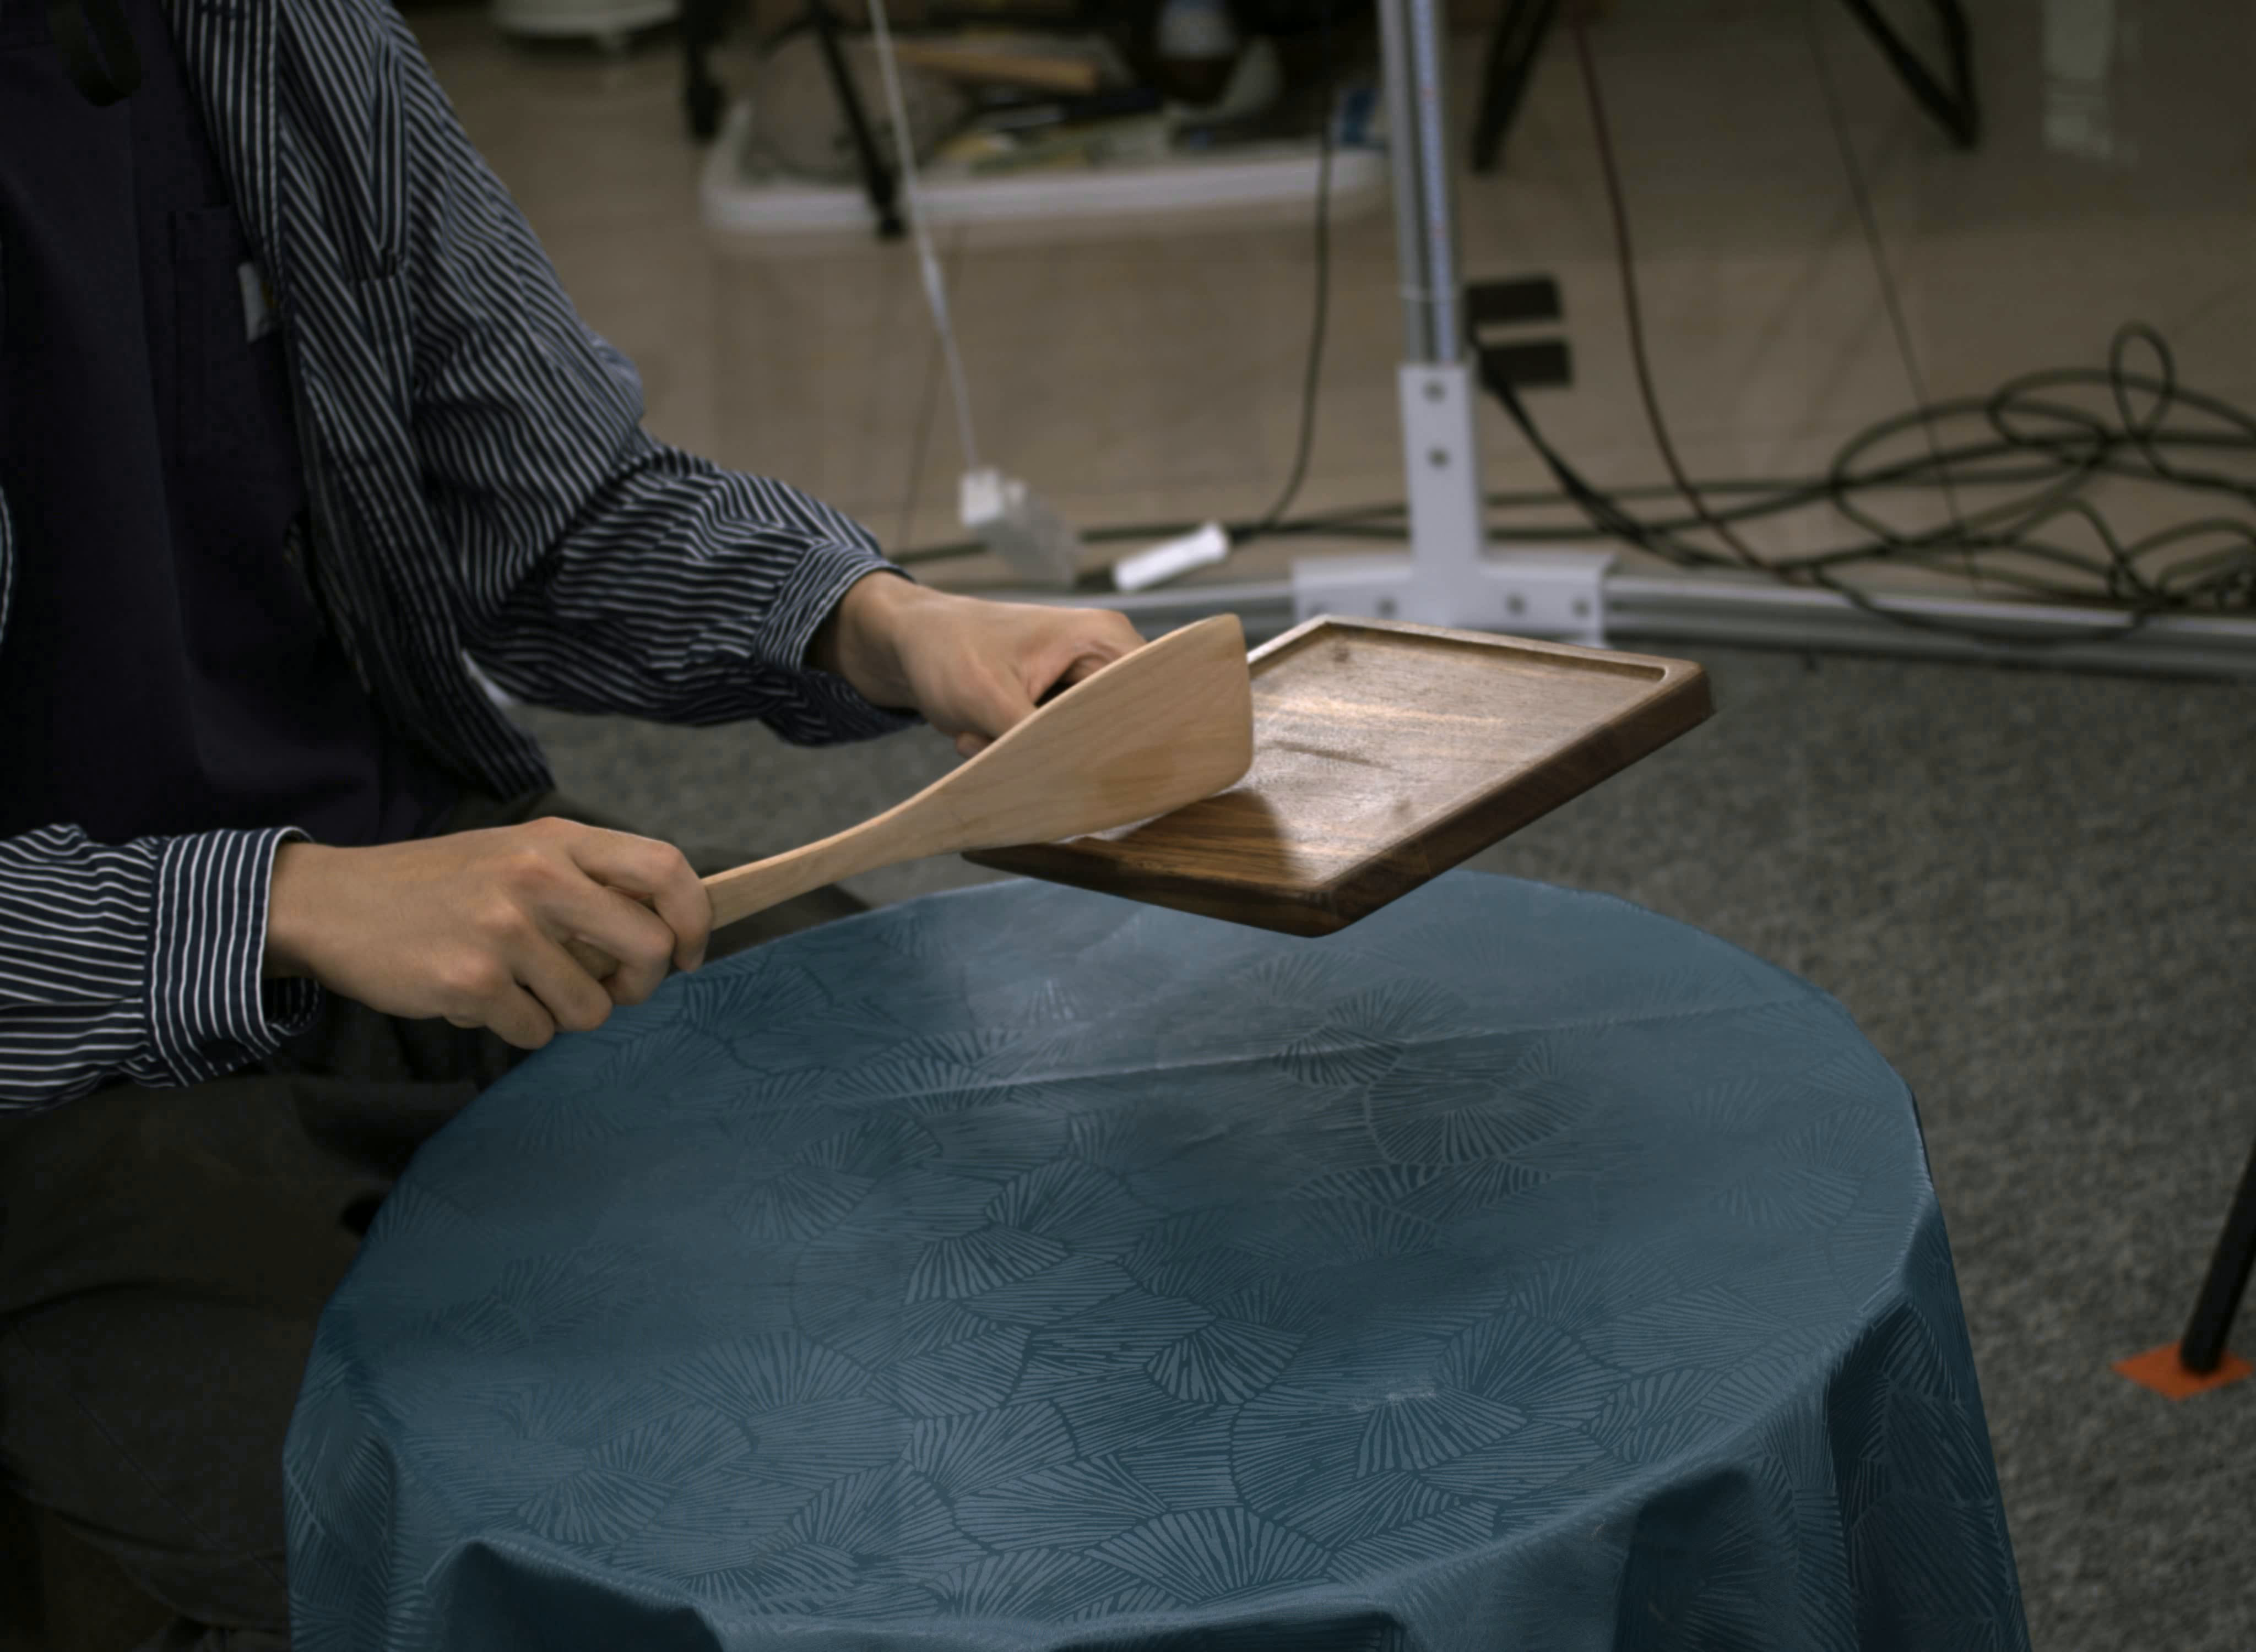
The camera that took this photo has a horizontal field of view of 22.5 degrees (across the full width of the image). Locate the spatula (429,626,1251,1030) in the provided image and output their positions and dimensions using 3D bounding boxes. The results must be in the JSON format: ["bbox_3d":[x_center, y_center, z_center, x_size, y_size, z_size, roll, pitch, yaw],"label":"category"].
[{"bbox_3d":[-0.104,0.011,2.096,0.327,0.081,0.016,-20,41,1],"label":"spatula"}]

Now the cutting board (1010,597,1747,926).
[{"bbox_3d":[0.058,-0.034,2.173,0.199,0.023,0.350,-29,21,-26],"label":"cutting board"}]
